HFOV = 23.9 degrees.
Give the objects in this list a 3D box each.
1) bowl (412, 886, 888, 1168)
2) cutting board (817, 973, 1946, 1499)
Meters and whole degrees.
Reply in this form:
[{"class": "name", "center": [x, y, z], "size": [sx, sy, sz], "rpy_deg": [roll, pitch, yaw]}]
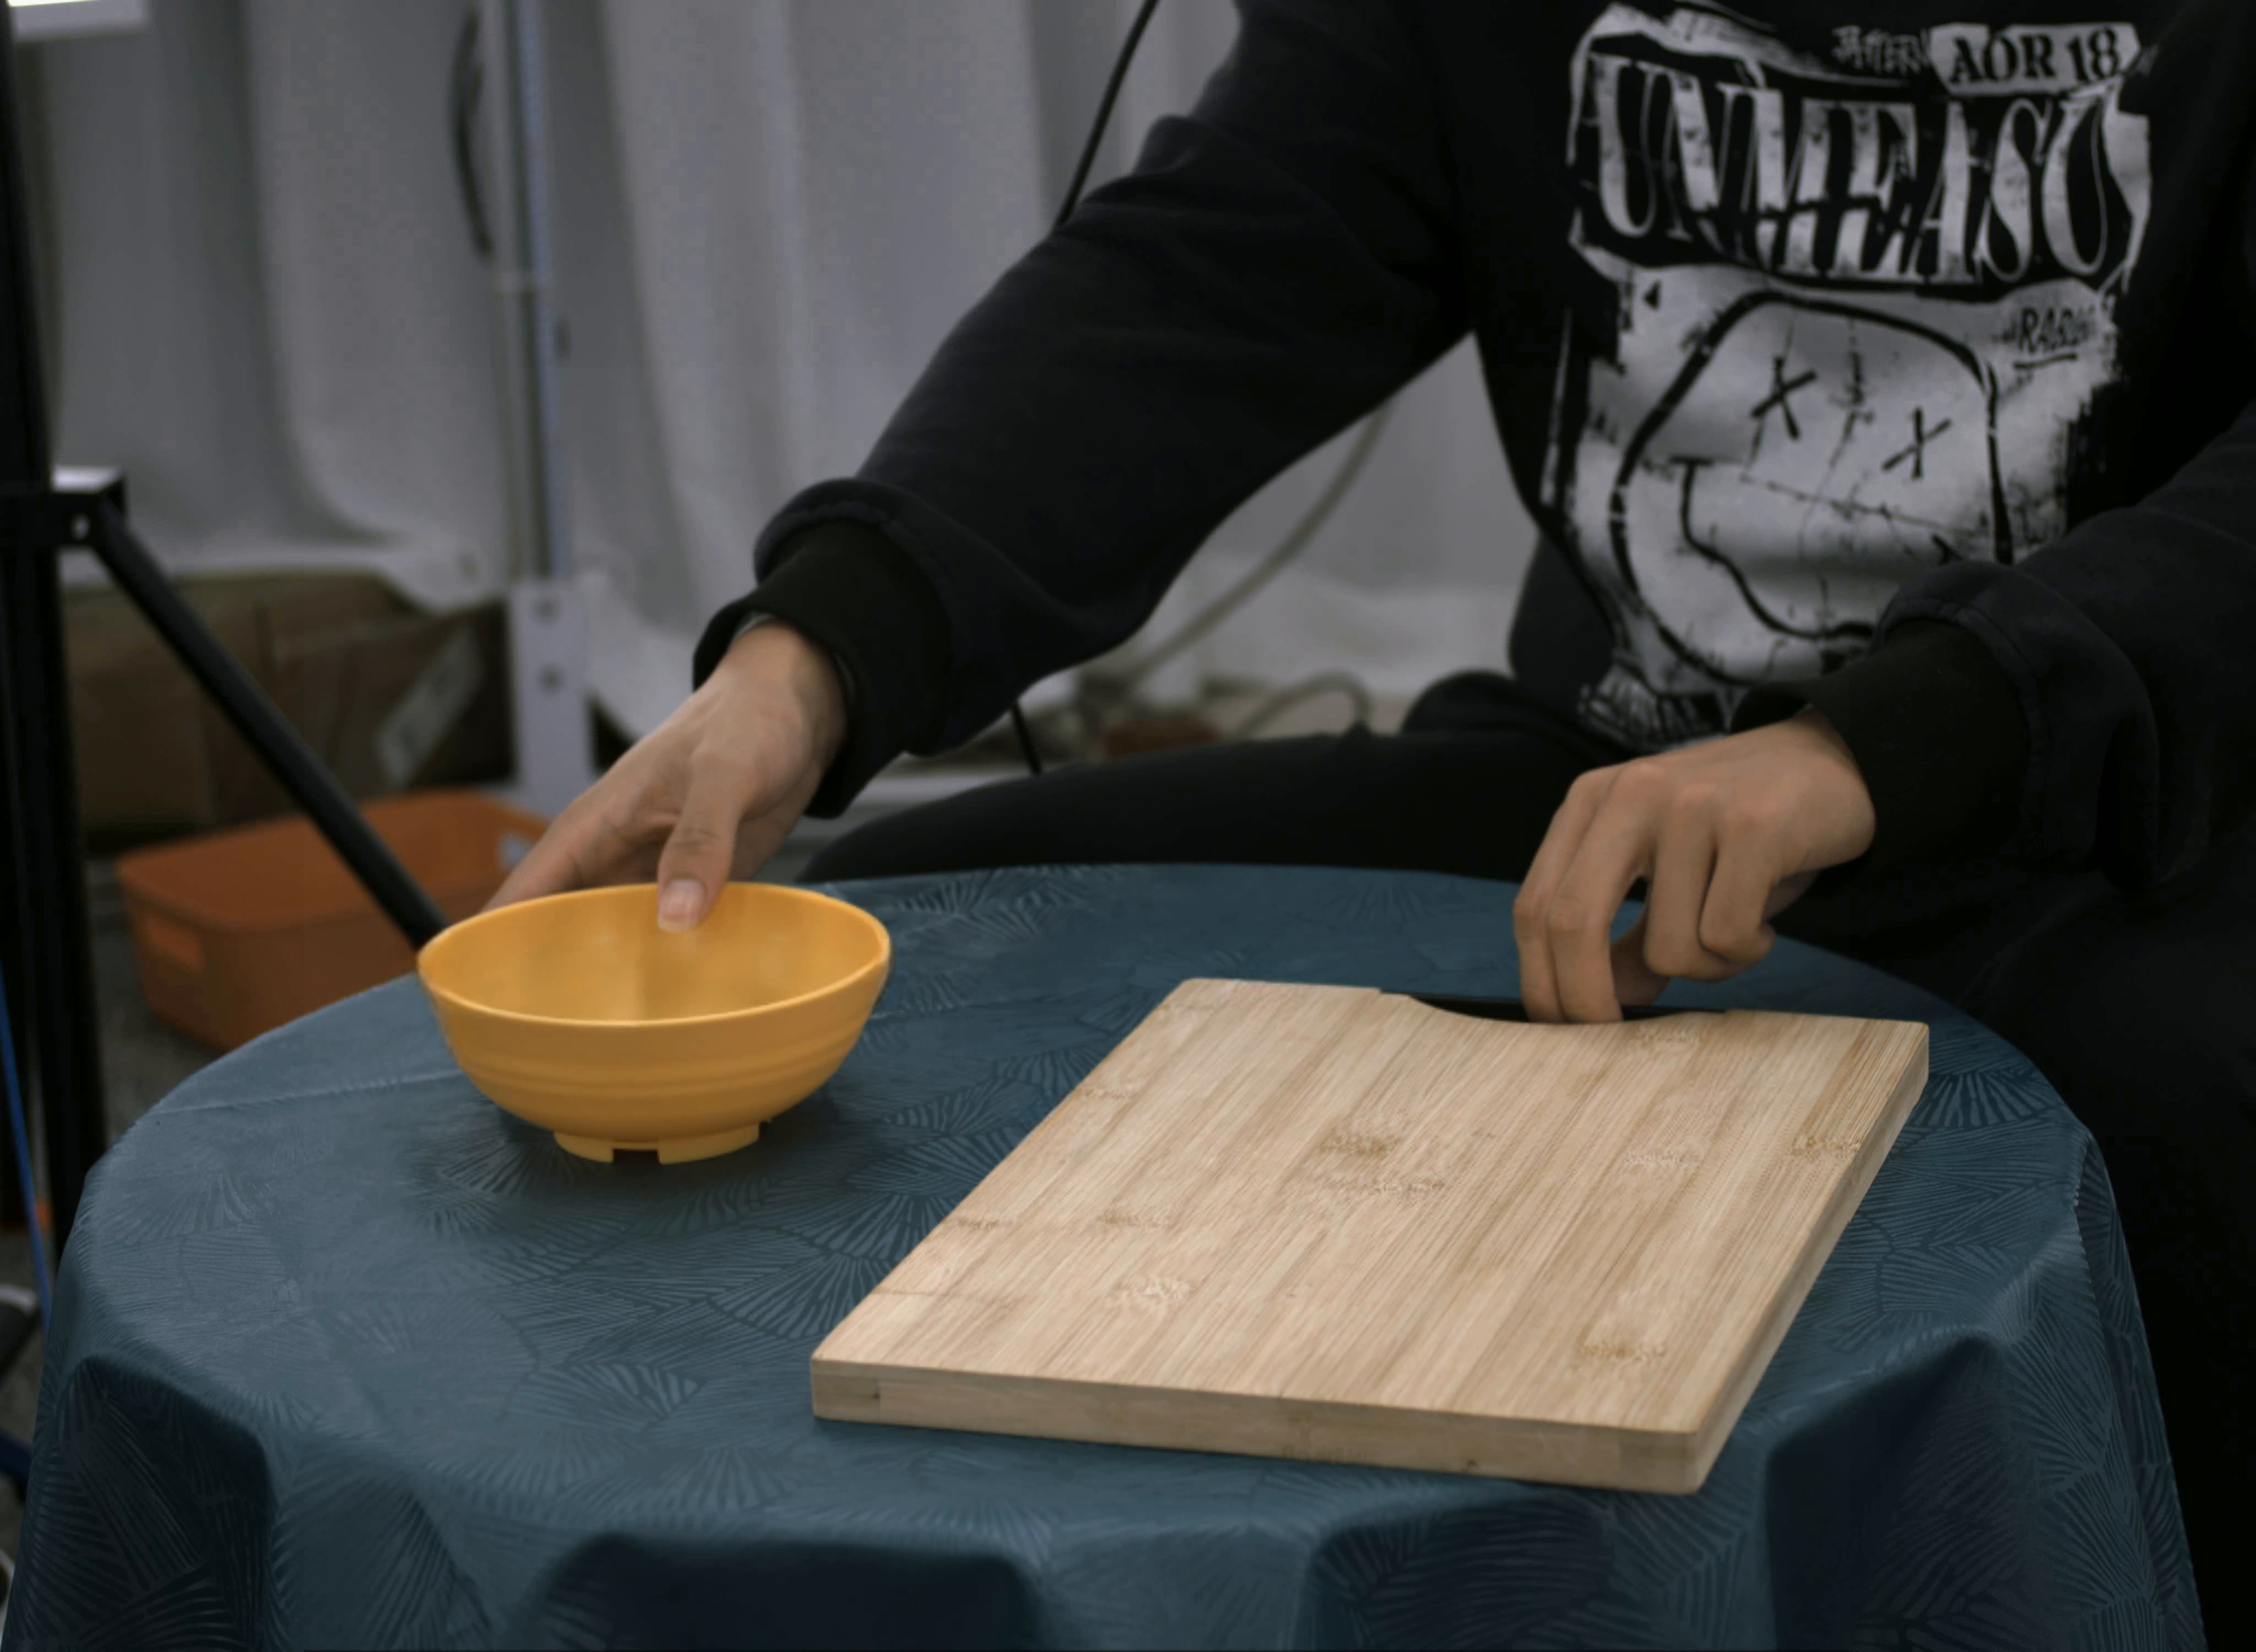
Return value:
[{"class": "bowl", "center": [-0.145, 0.067, 1.627], "size": [0.144, 0.060, 0.146], "rpy_deg": [0, 15, -1]}, {"class": "cutting board", "center": [0.084, 0.108, 1.513], "size": [0.253, 0.023, 0.345], "rpy_deg": [3, 17, 18]}]
